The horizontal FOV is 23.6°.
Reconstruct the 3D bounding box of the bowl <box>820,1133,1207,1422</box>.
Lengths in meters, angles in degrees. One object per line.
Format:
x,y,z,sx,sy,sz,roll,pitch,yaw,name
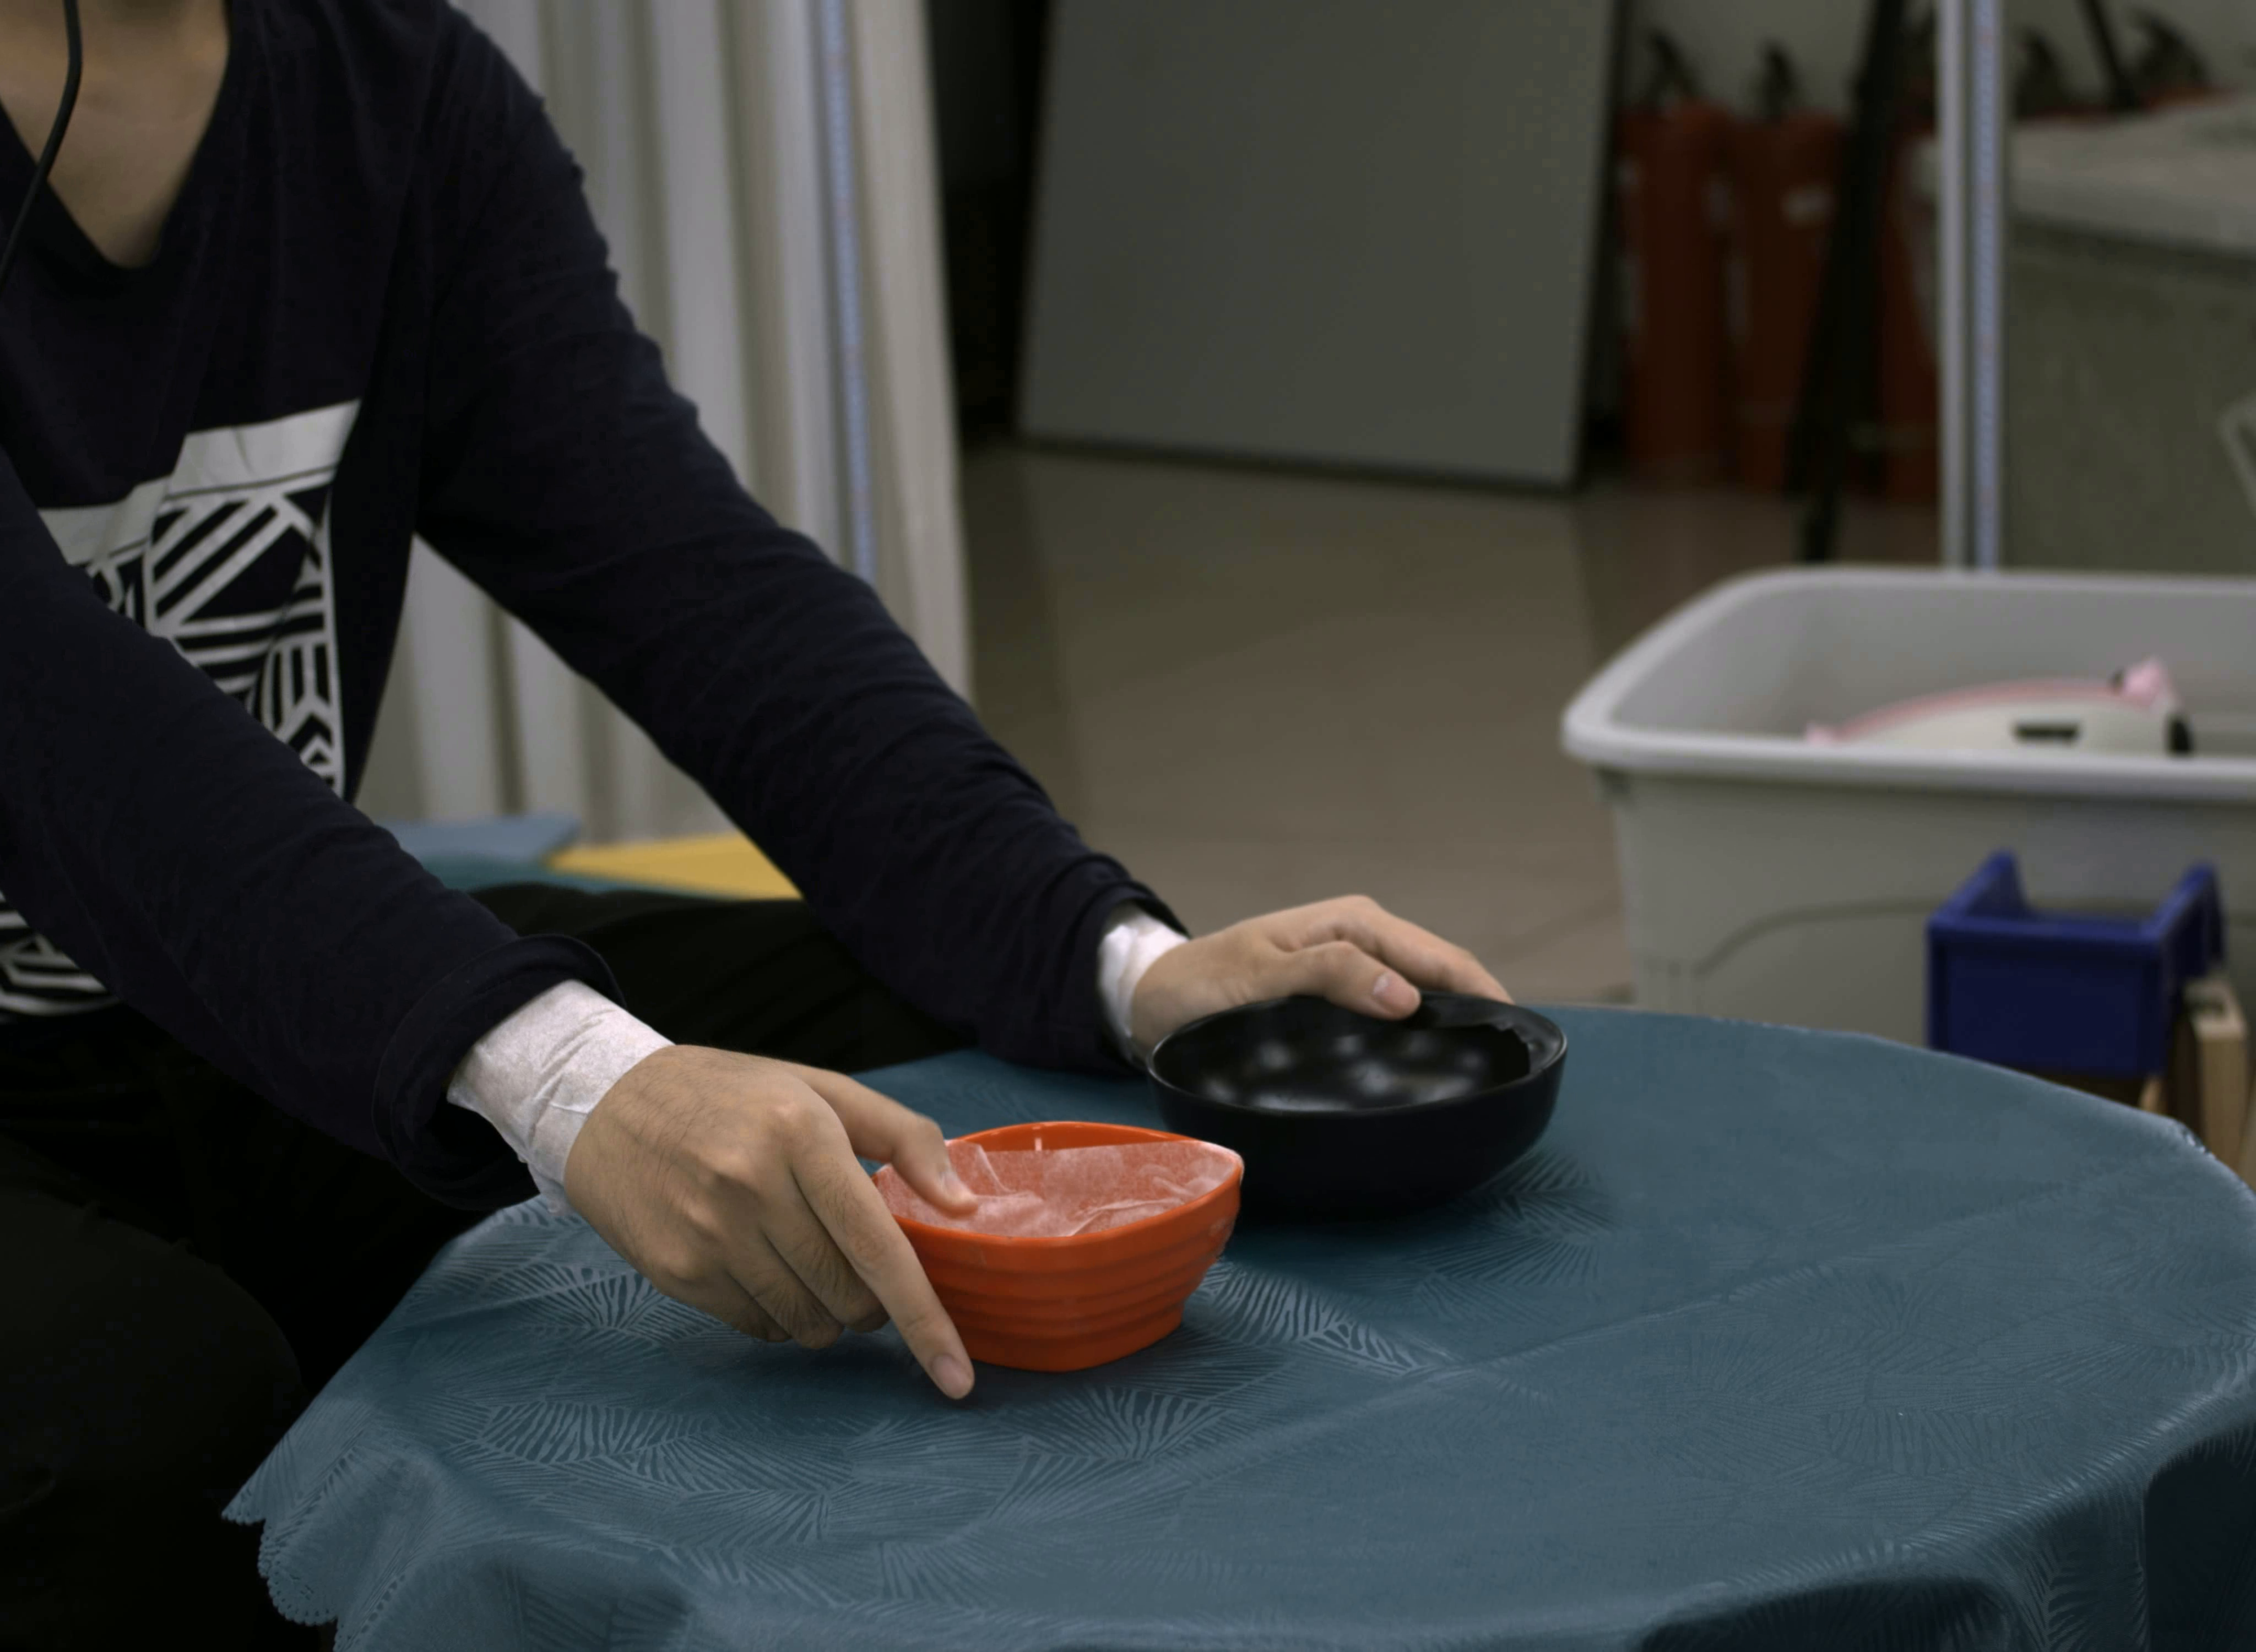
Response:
-0.033,0.140,1.639,0.117,0.052,0.119,-3,22,0,bowl

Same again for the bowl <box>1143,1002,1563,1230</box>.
0.075,0.098,1.754,0.138,0.050,0.140,-6,11,0,bowl
